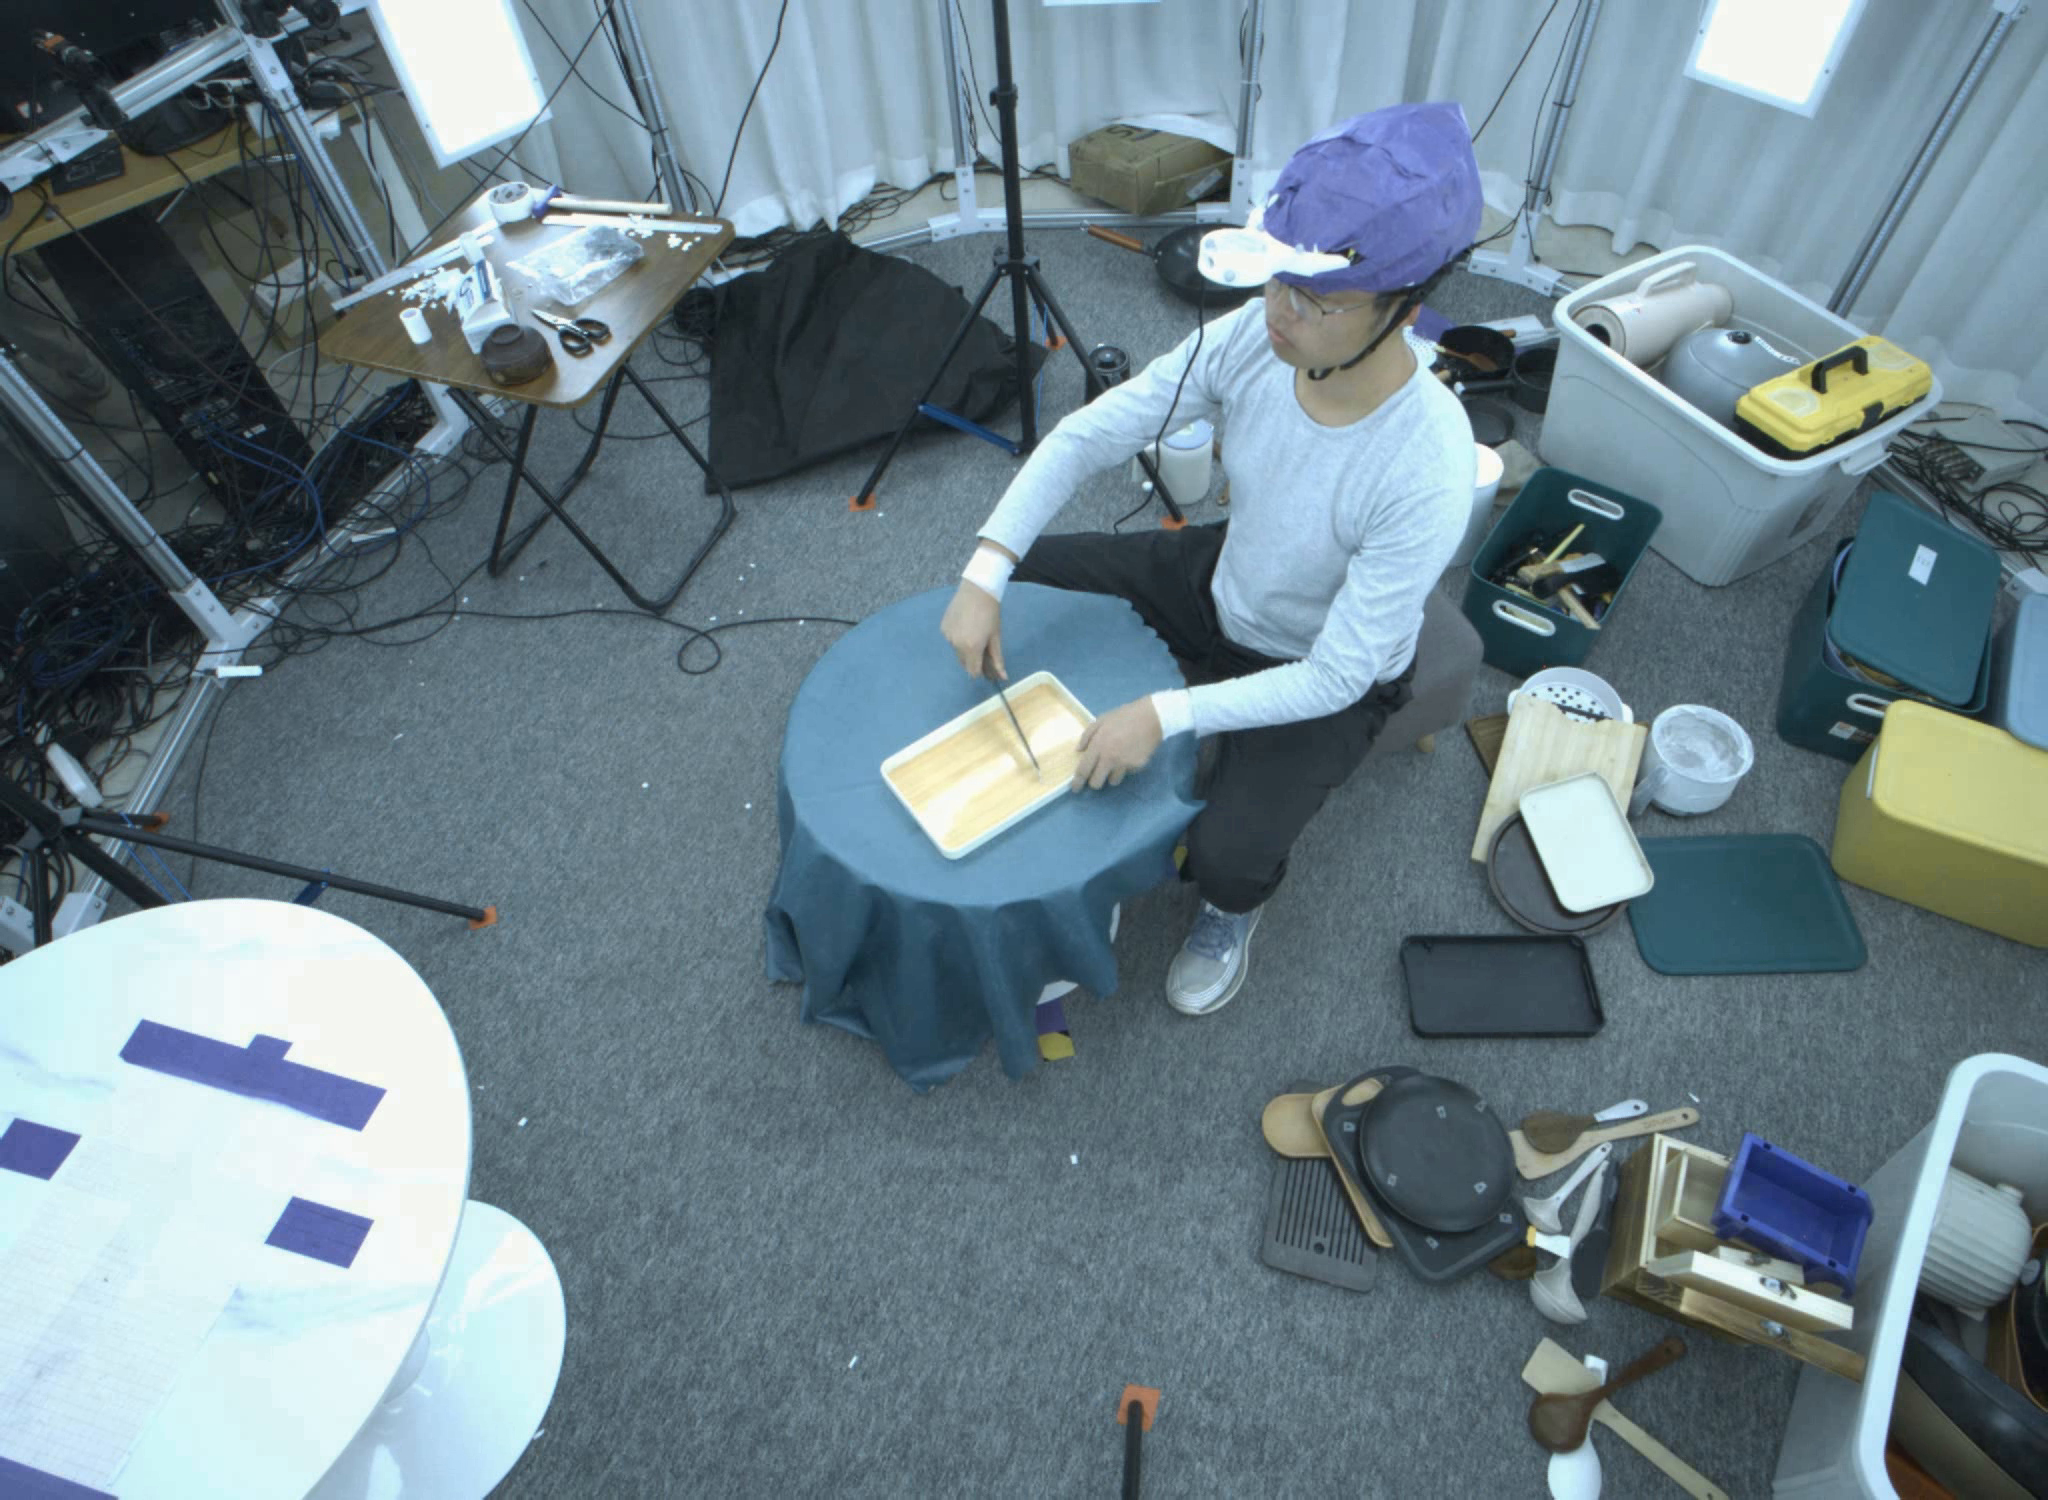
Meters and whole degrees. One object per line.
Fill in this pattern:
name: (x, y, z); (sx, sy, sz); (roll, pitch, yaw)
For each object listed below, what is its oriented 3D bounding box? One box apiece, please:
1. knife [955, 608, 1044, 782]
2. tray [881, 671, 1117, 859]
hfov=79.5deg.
knife: (-0.033, -0.080, 1.778); (0.020, 0.050, 0.287); (-25, 78, -7)
tray: (-0.035, 0.016, 1.768); (0.303, 0.028, 0.188); (-31, 59, -19)
